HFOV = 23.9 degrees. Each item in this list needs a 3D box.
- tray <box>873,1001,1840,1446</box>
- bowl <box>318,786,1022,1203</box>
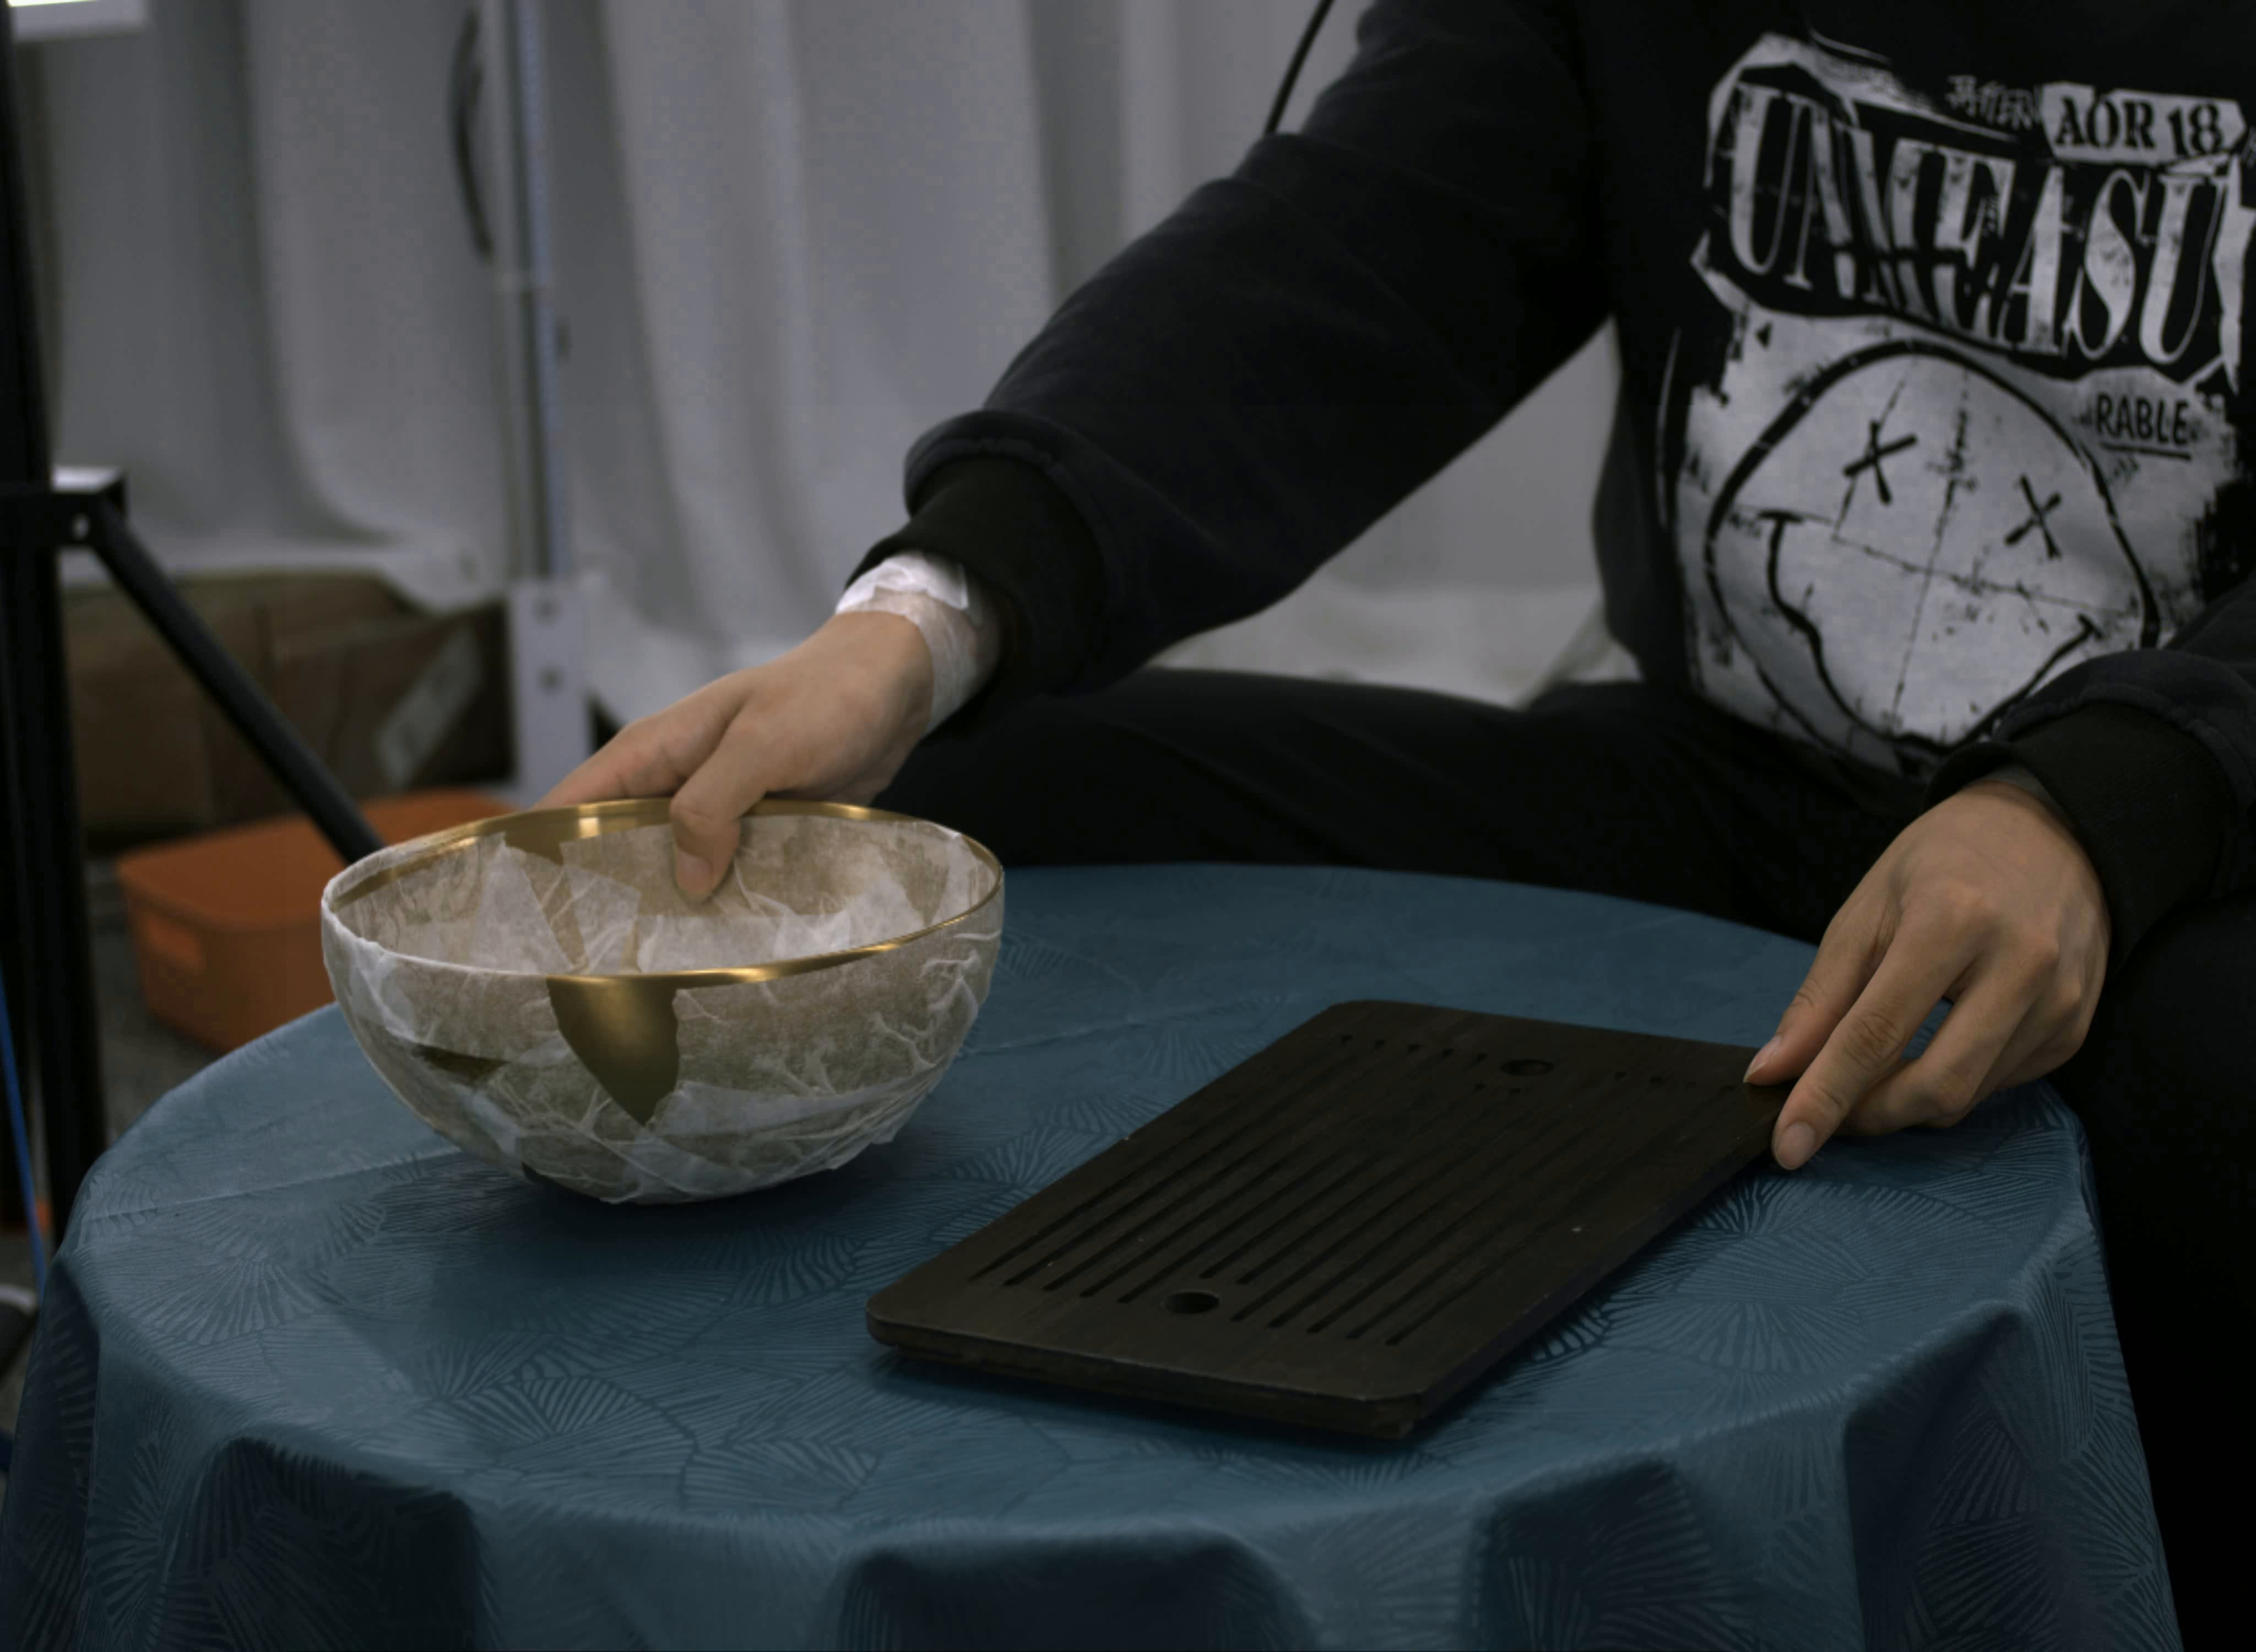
[{"bbox_3d":[0.073,0.109,1.509,0.173,0.018,0.300,6,18,29],"label":"tray"},{"bbox_3d":[-0.132,0.058,1.585,0.213,0.094,0.216,-3,14,-1],"label":"bowl"}]
